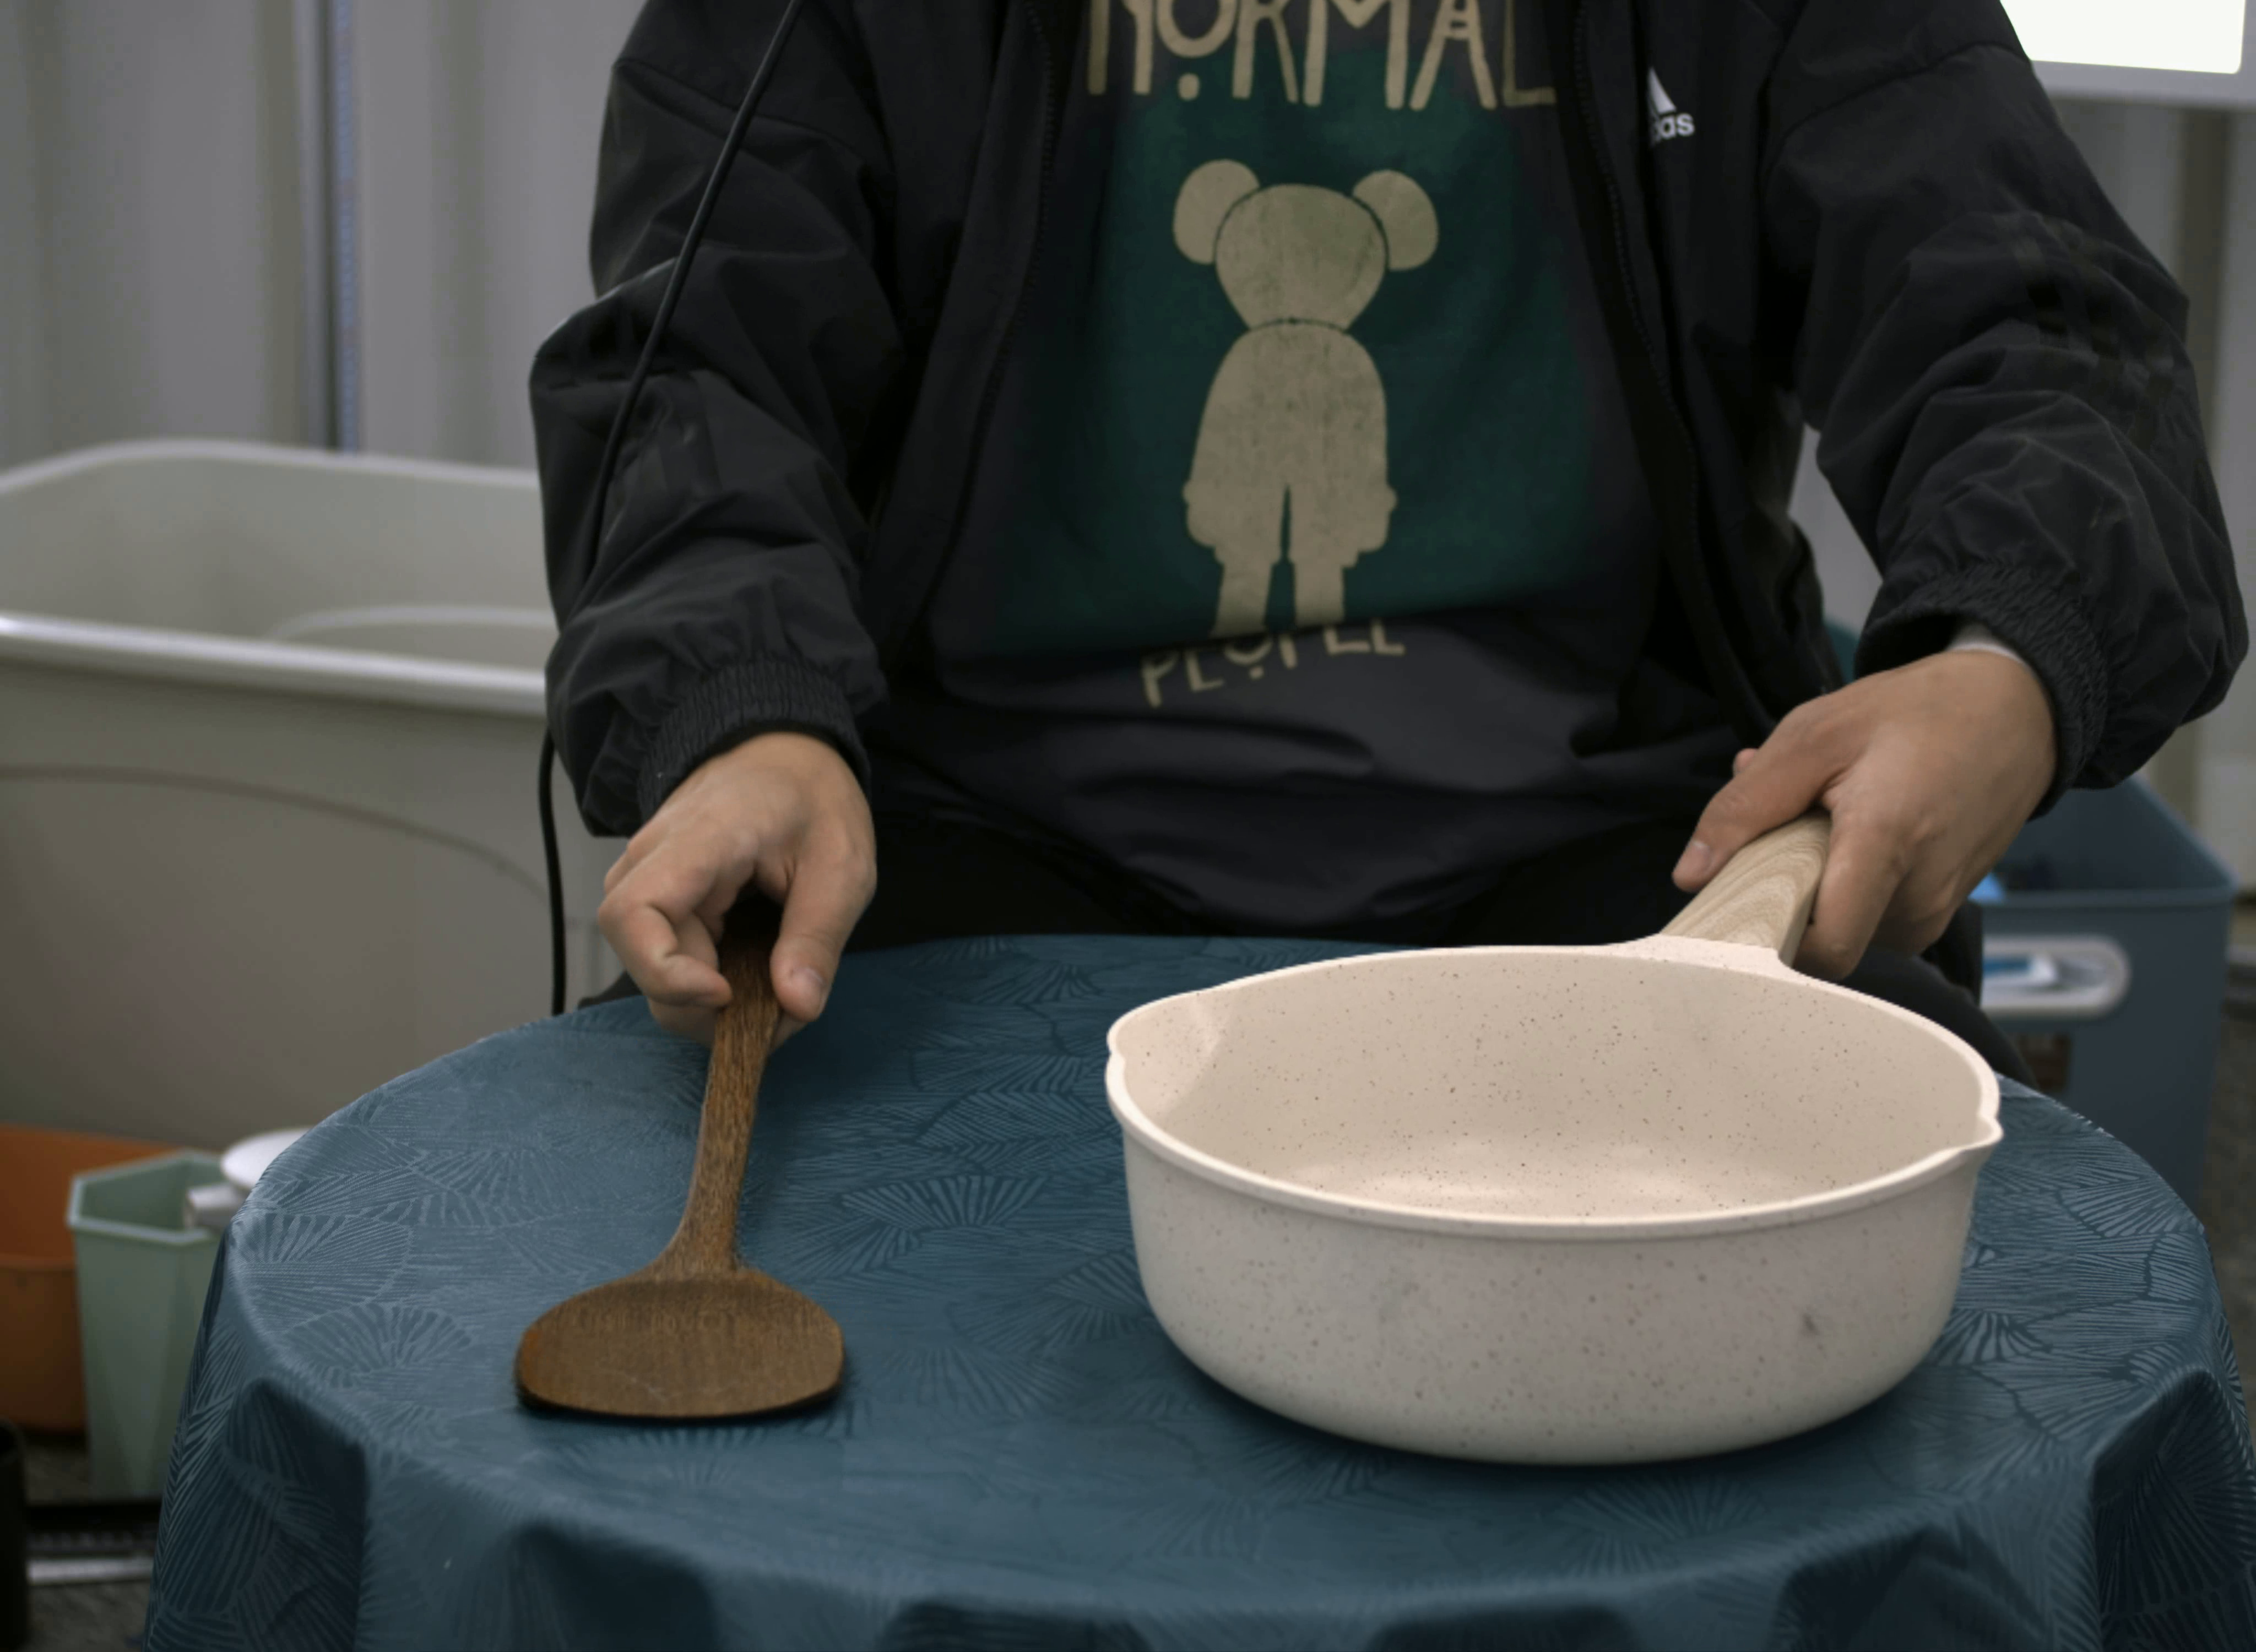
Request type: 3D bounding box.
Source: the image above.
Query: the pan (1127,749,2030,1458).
[{"bbox_3d":[0.163,0.077,1.567,0.260,0.103,0.435,5,16,24],"label":"pan"}]

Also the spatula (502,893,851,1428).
[{"bbox_3d":[-0.123,0.093,1.609,0.096,0.016,0.383,0,22,1],"label":"spatula"}]
